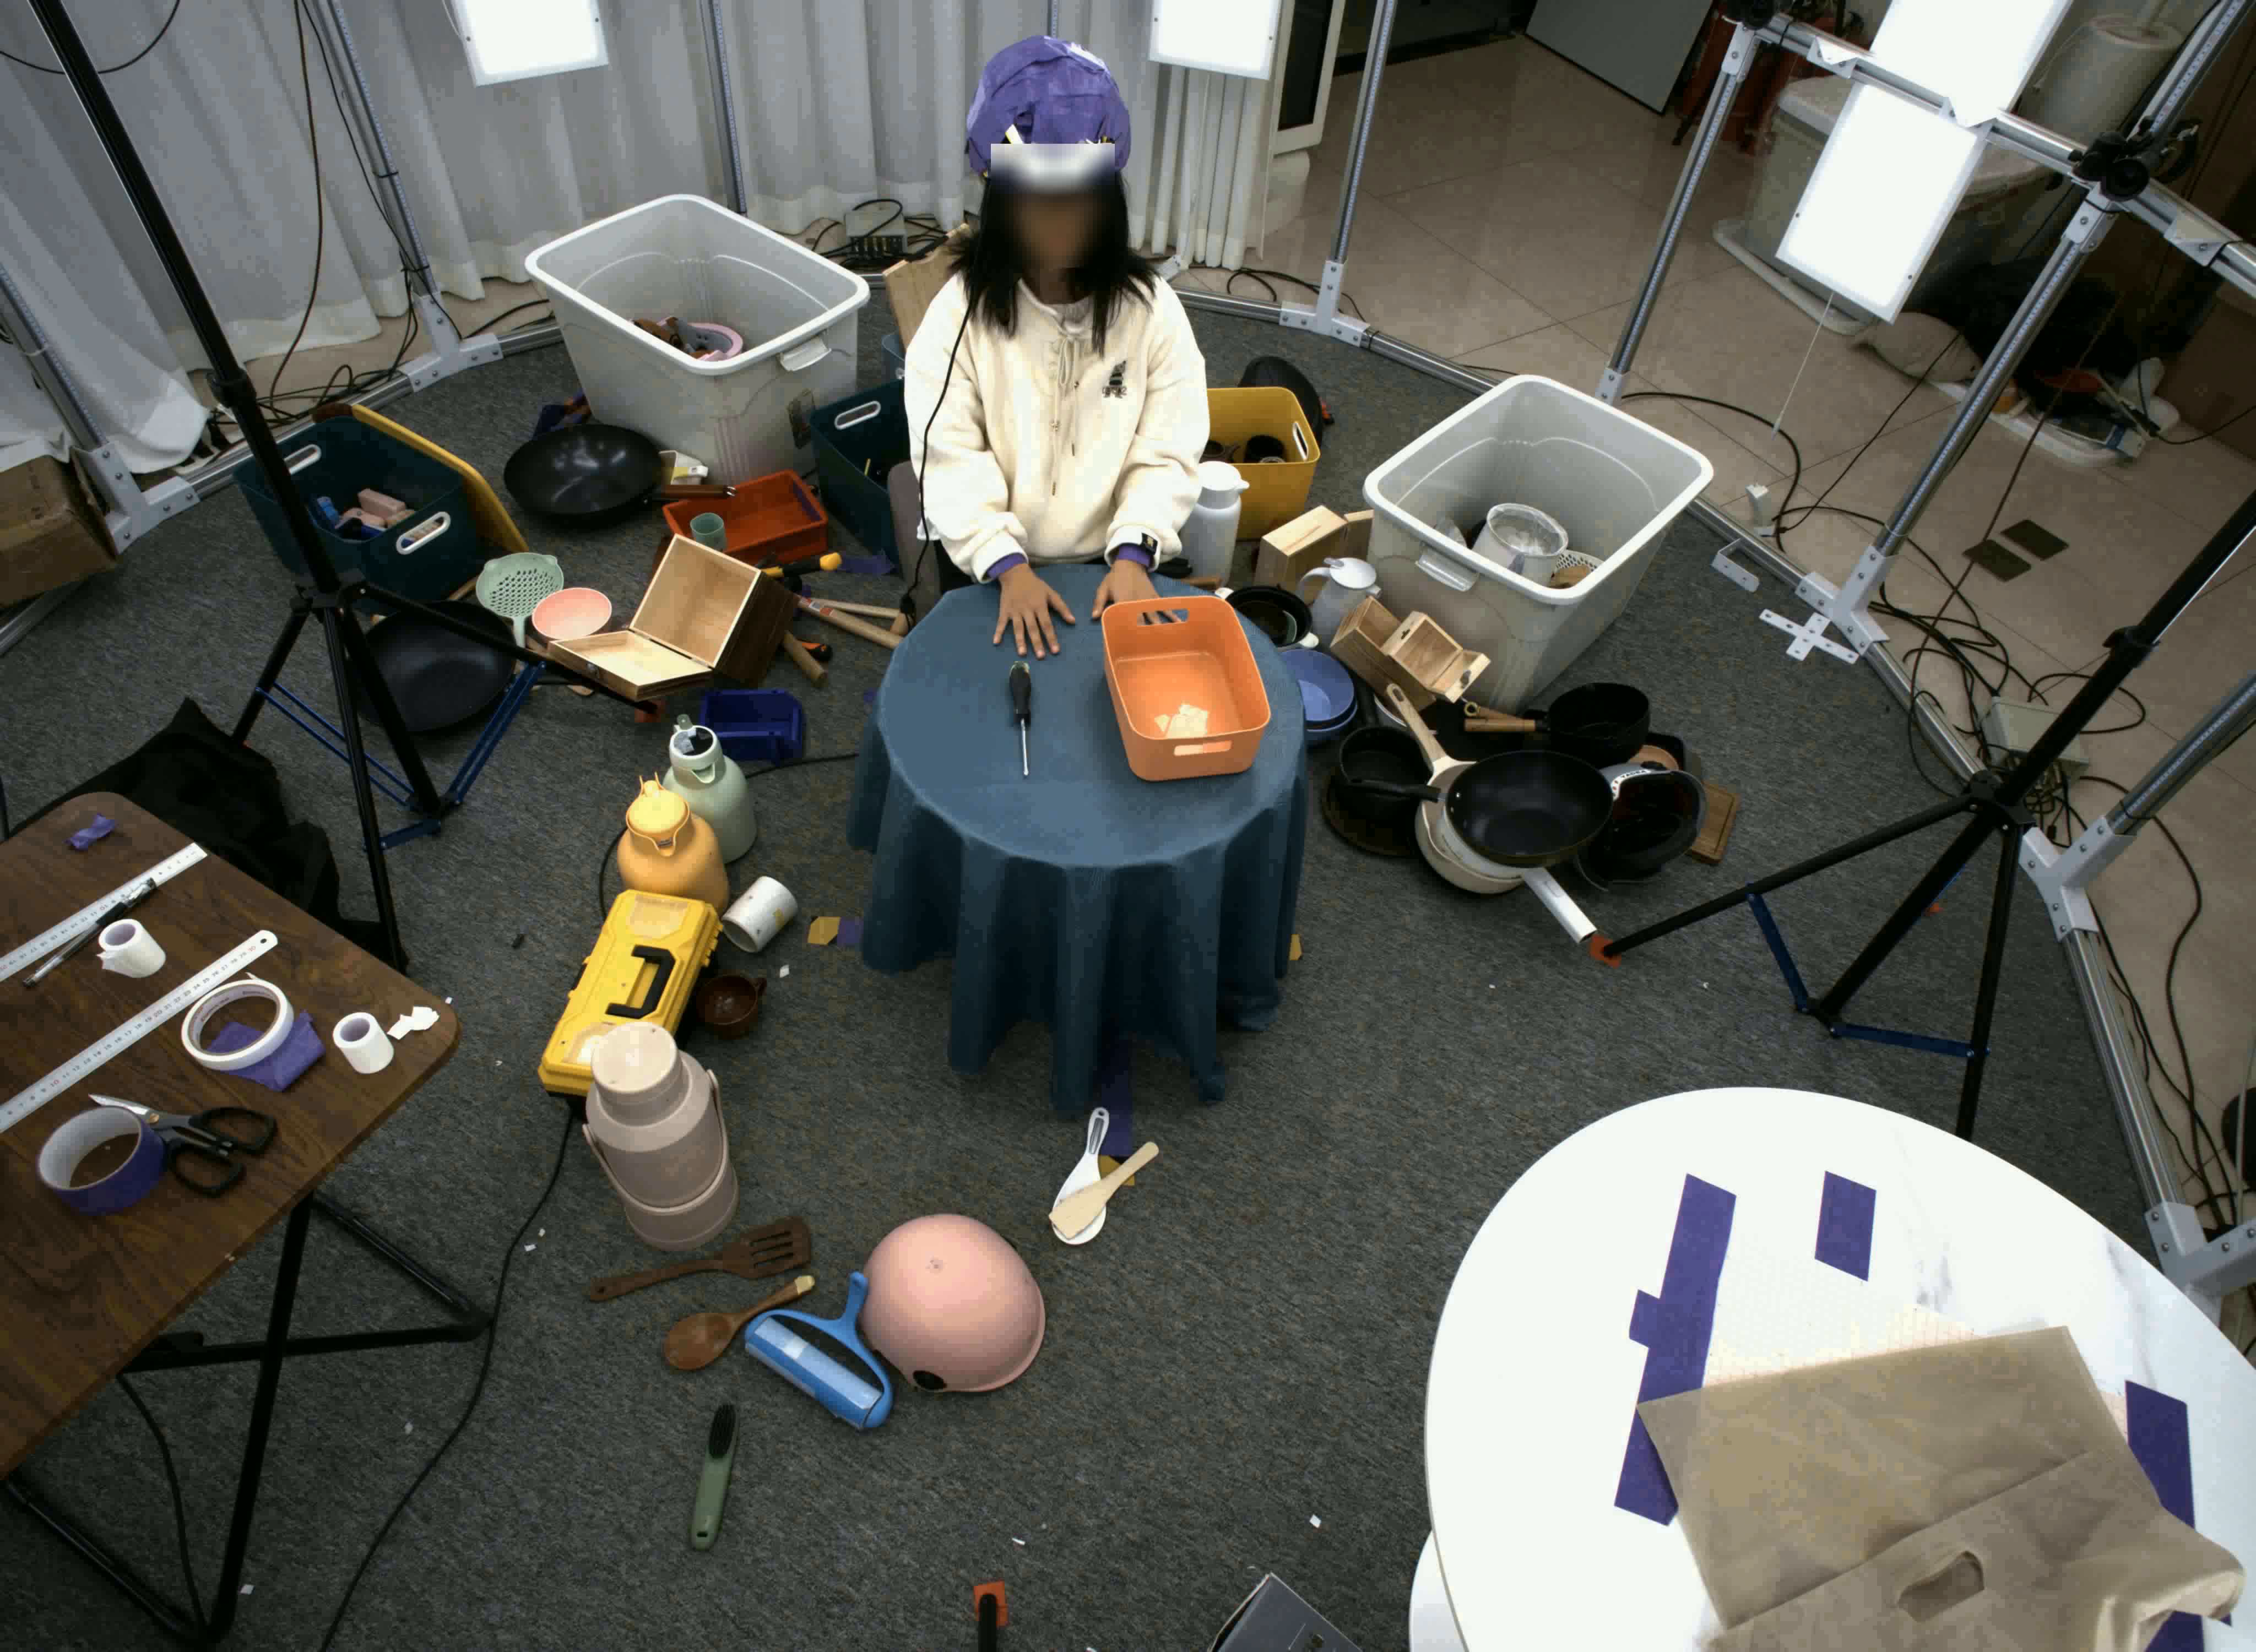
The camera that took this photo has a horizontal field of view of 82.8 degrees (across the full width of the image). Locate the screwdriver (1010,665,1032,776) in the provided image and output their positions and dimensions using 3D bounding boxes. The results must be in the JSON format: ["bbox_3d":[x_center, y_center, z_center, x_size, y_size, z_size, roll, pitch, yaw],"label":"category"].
[{"bbox_3d":[-0.149,-0.145,1.775,0.031,0.031,0.201,0,54,-5],"label":"screwdriver"}]

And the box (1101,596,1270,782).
[{"bbox_3d":[0.073,-0.188,1.771,0.199,0.100,0.280,-7,50,-9],"label":"box"}]
